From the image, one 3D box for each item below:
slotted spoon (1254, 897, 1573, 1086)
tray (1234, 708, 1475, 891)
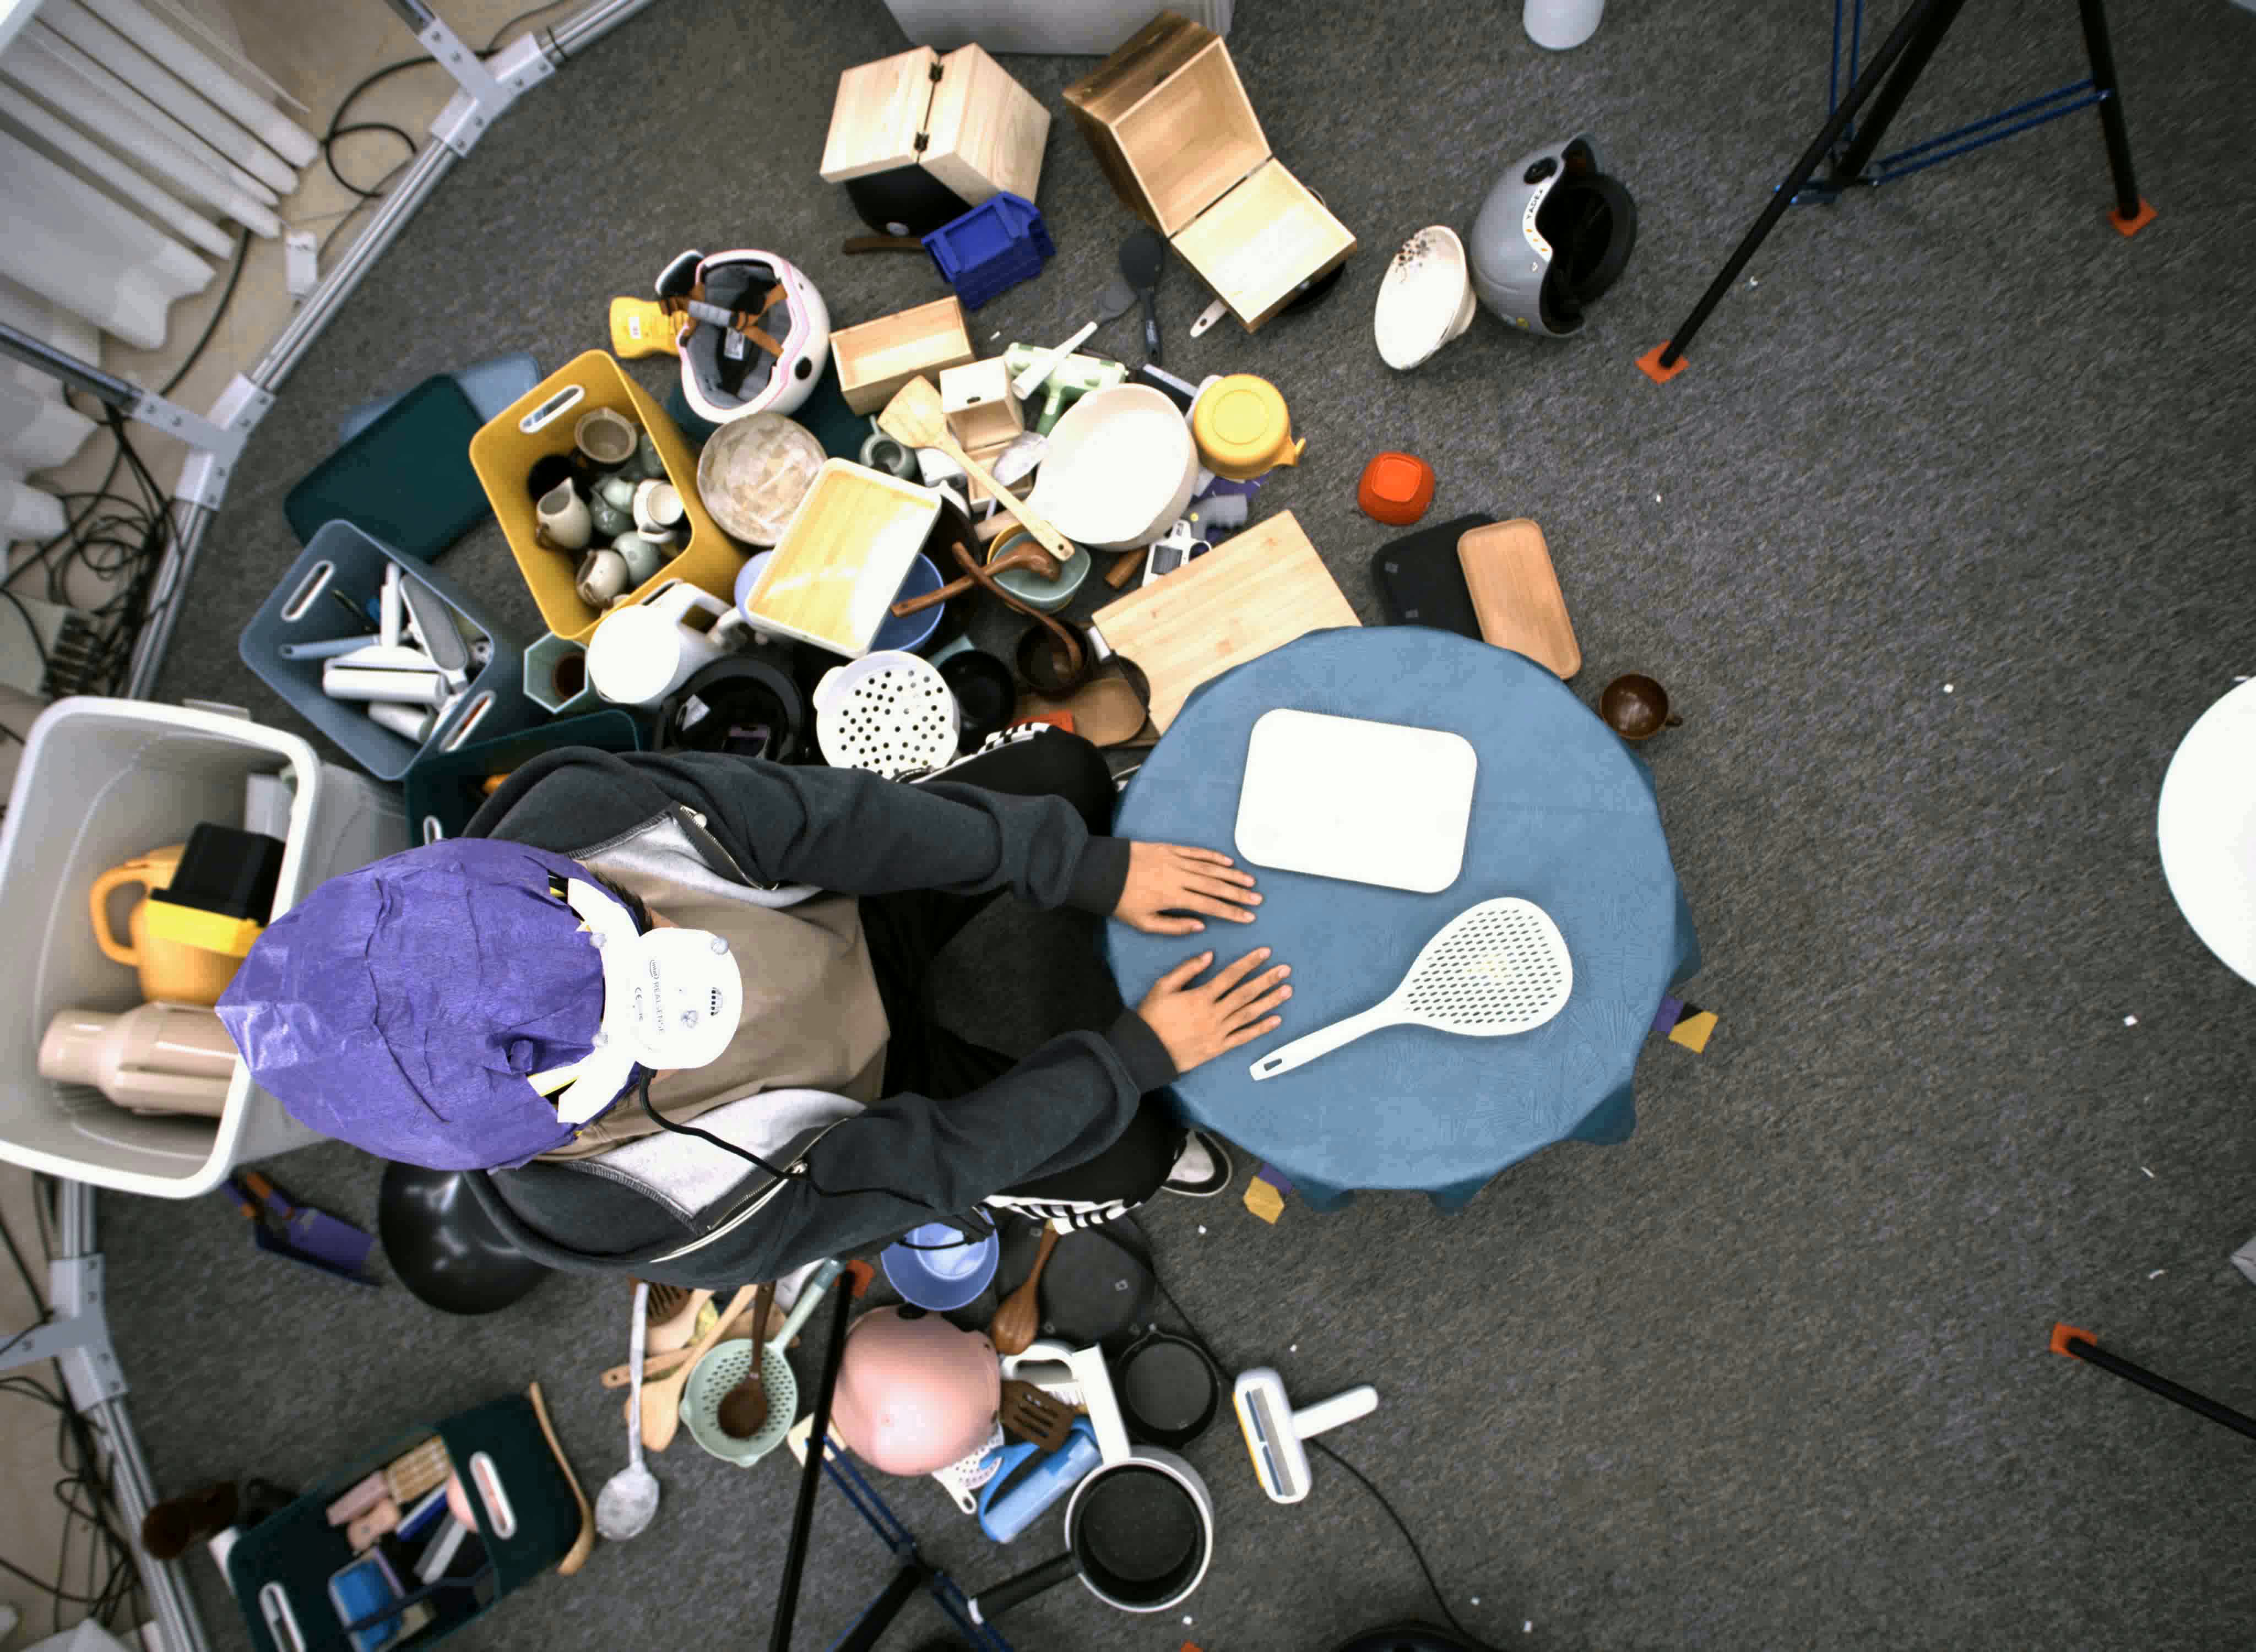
[{"bbox_3d":[0.285,0.187,1.429,0.350,0.050,0.136,-25,84,8],"label":"slotted spoon"},{"bbox_3d":[0.239,-0.030,1.461,0.240,0.017,0.171,9,89,11],"label":"tray"}]
